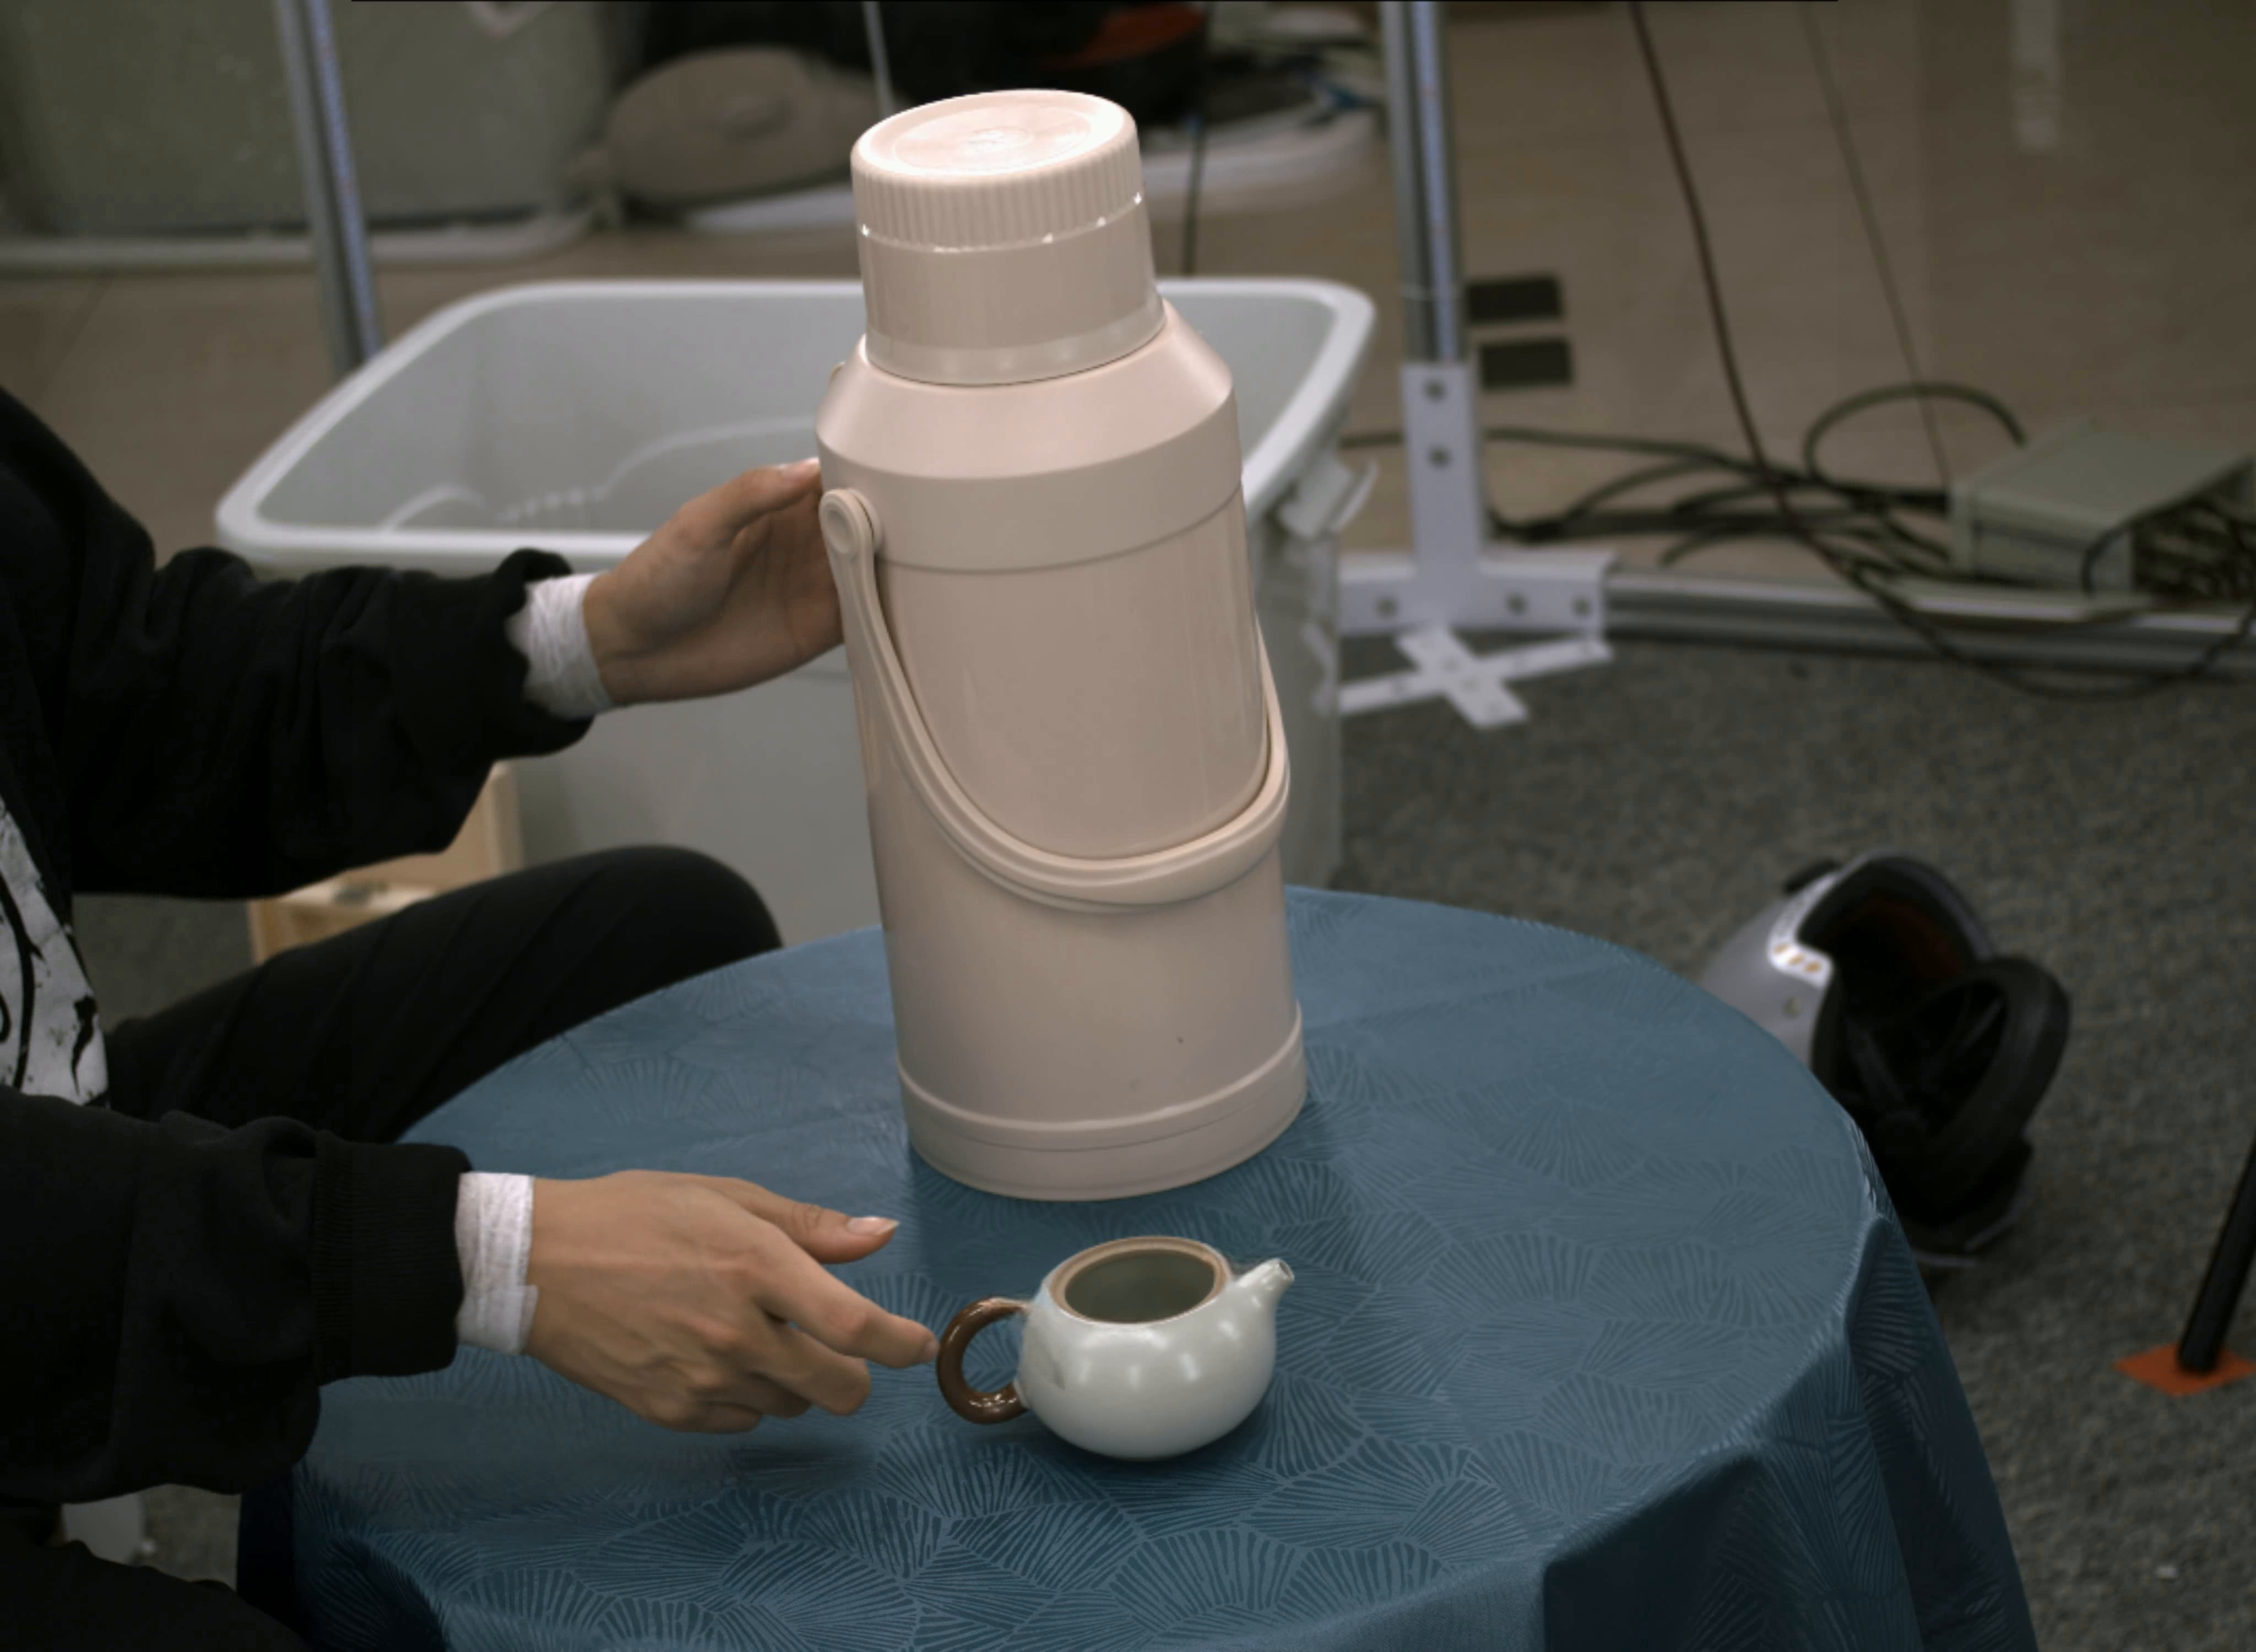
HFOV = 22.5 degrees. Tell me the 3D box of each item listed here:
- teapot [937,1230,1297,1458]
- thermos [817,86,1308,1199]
[{"bbox_3d":[-0.003,0.183,1.985,0.128,0.060,0.090,-6,30,-3],"label":"teapot"},{"bbox_3d":[-0.036,-0.074,2.140,0.174,0.413,0.205,-25,32,-31],"label":"thermos"}]
